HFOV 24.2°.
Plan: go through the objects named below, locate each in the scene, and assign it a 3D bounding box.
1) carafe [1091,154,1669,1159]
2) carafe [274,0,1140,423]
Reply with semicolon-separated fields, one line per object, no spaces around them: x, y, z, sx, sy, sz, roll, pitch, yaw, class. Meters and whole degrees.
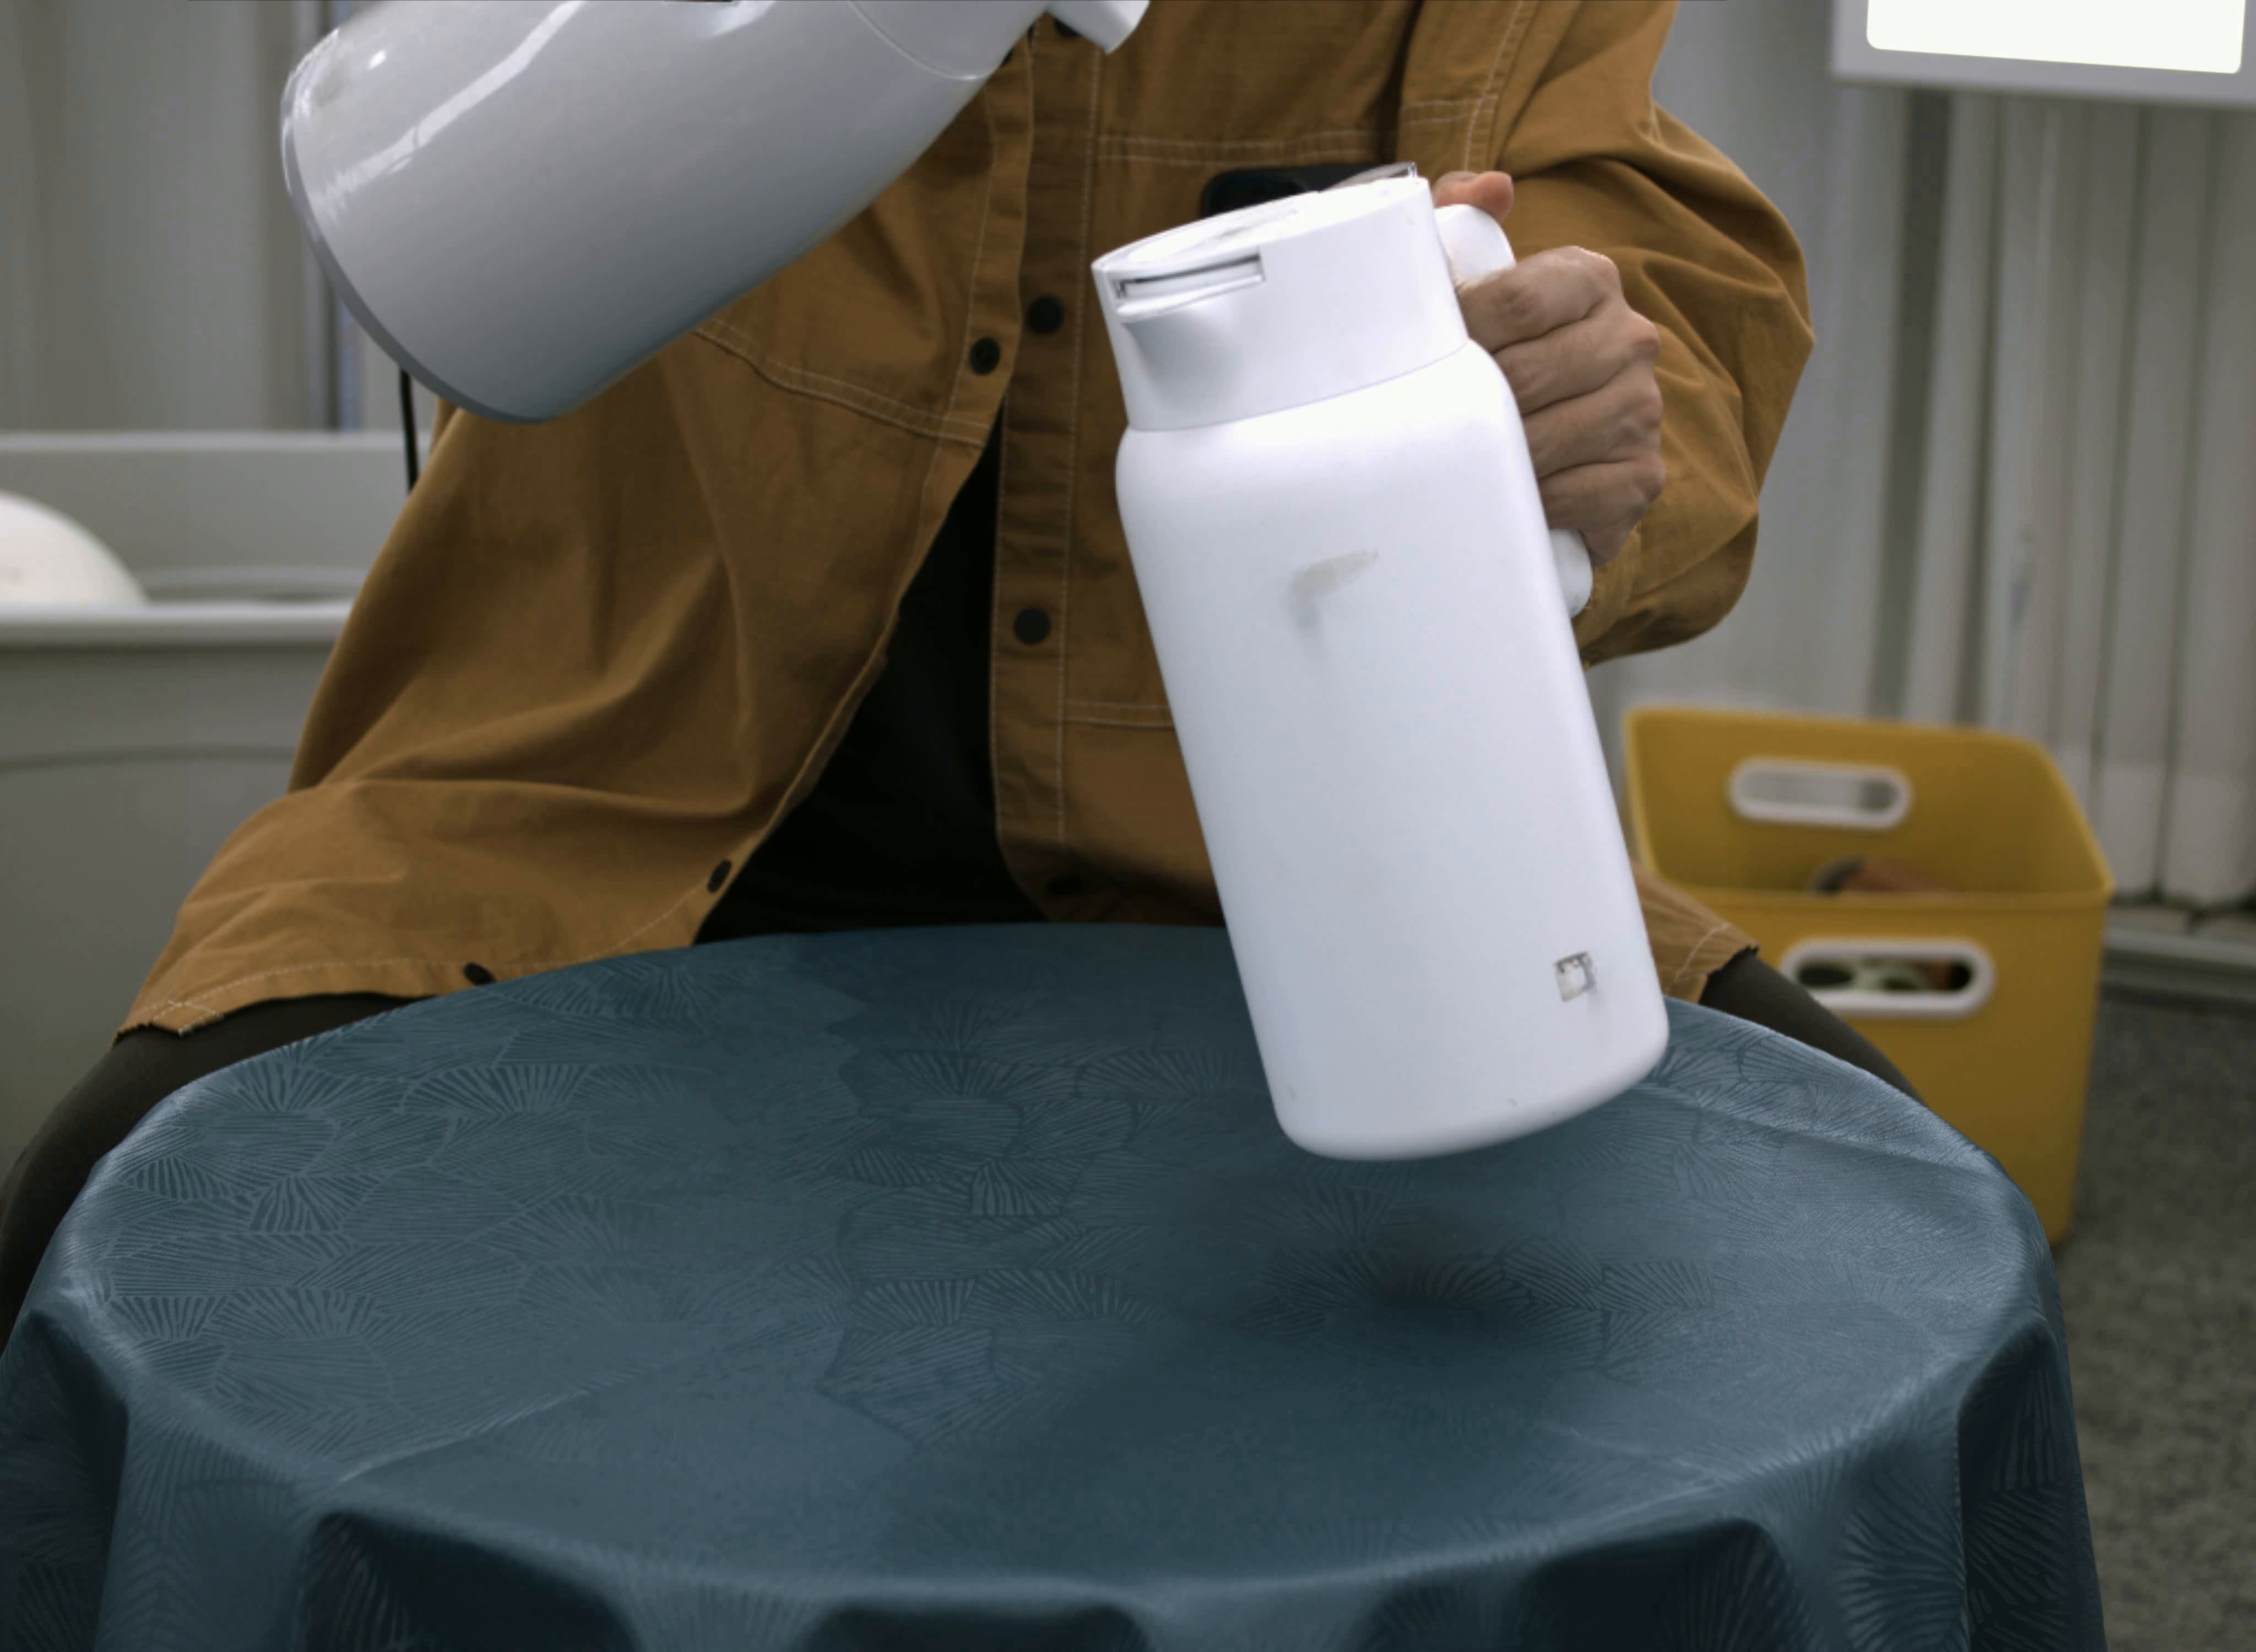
0.078;-0.052;1.510;0.122;0.271;0.173;-8;14;37;carafe
-0.123;-0.243;1.485;0.247;0.169;0.132;-30;22;30;carafe
